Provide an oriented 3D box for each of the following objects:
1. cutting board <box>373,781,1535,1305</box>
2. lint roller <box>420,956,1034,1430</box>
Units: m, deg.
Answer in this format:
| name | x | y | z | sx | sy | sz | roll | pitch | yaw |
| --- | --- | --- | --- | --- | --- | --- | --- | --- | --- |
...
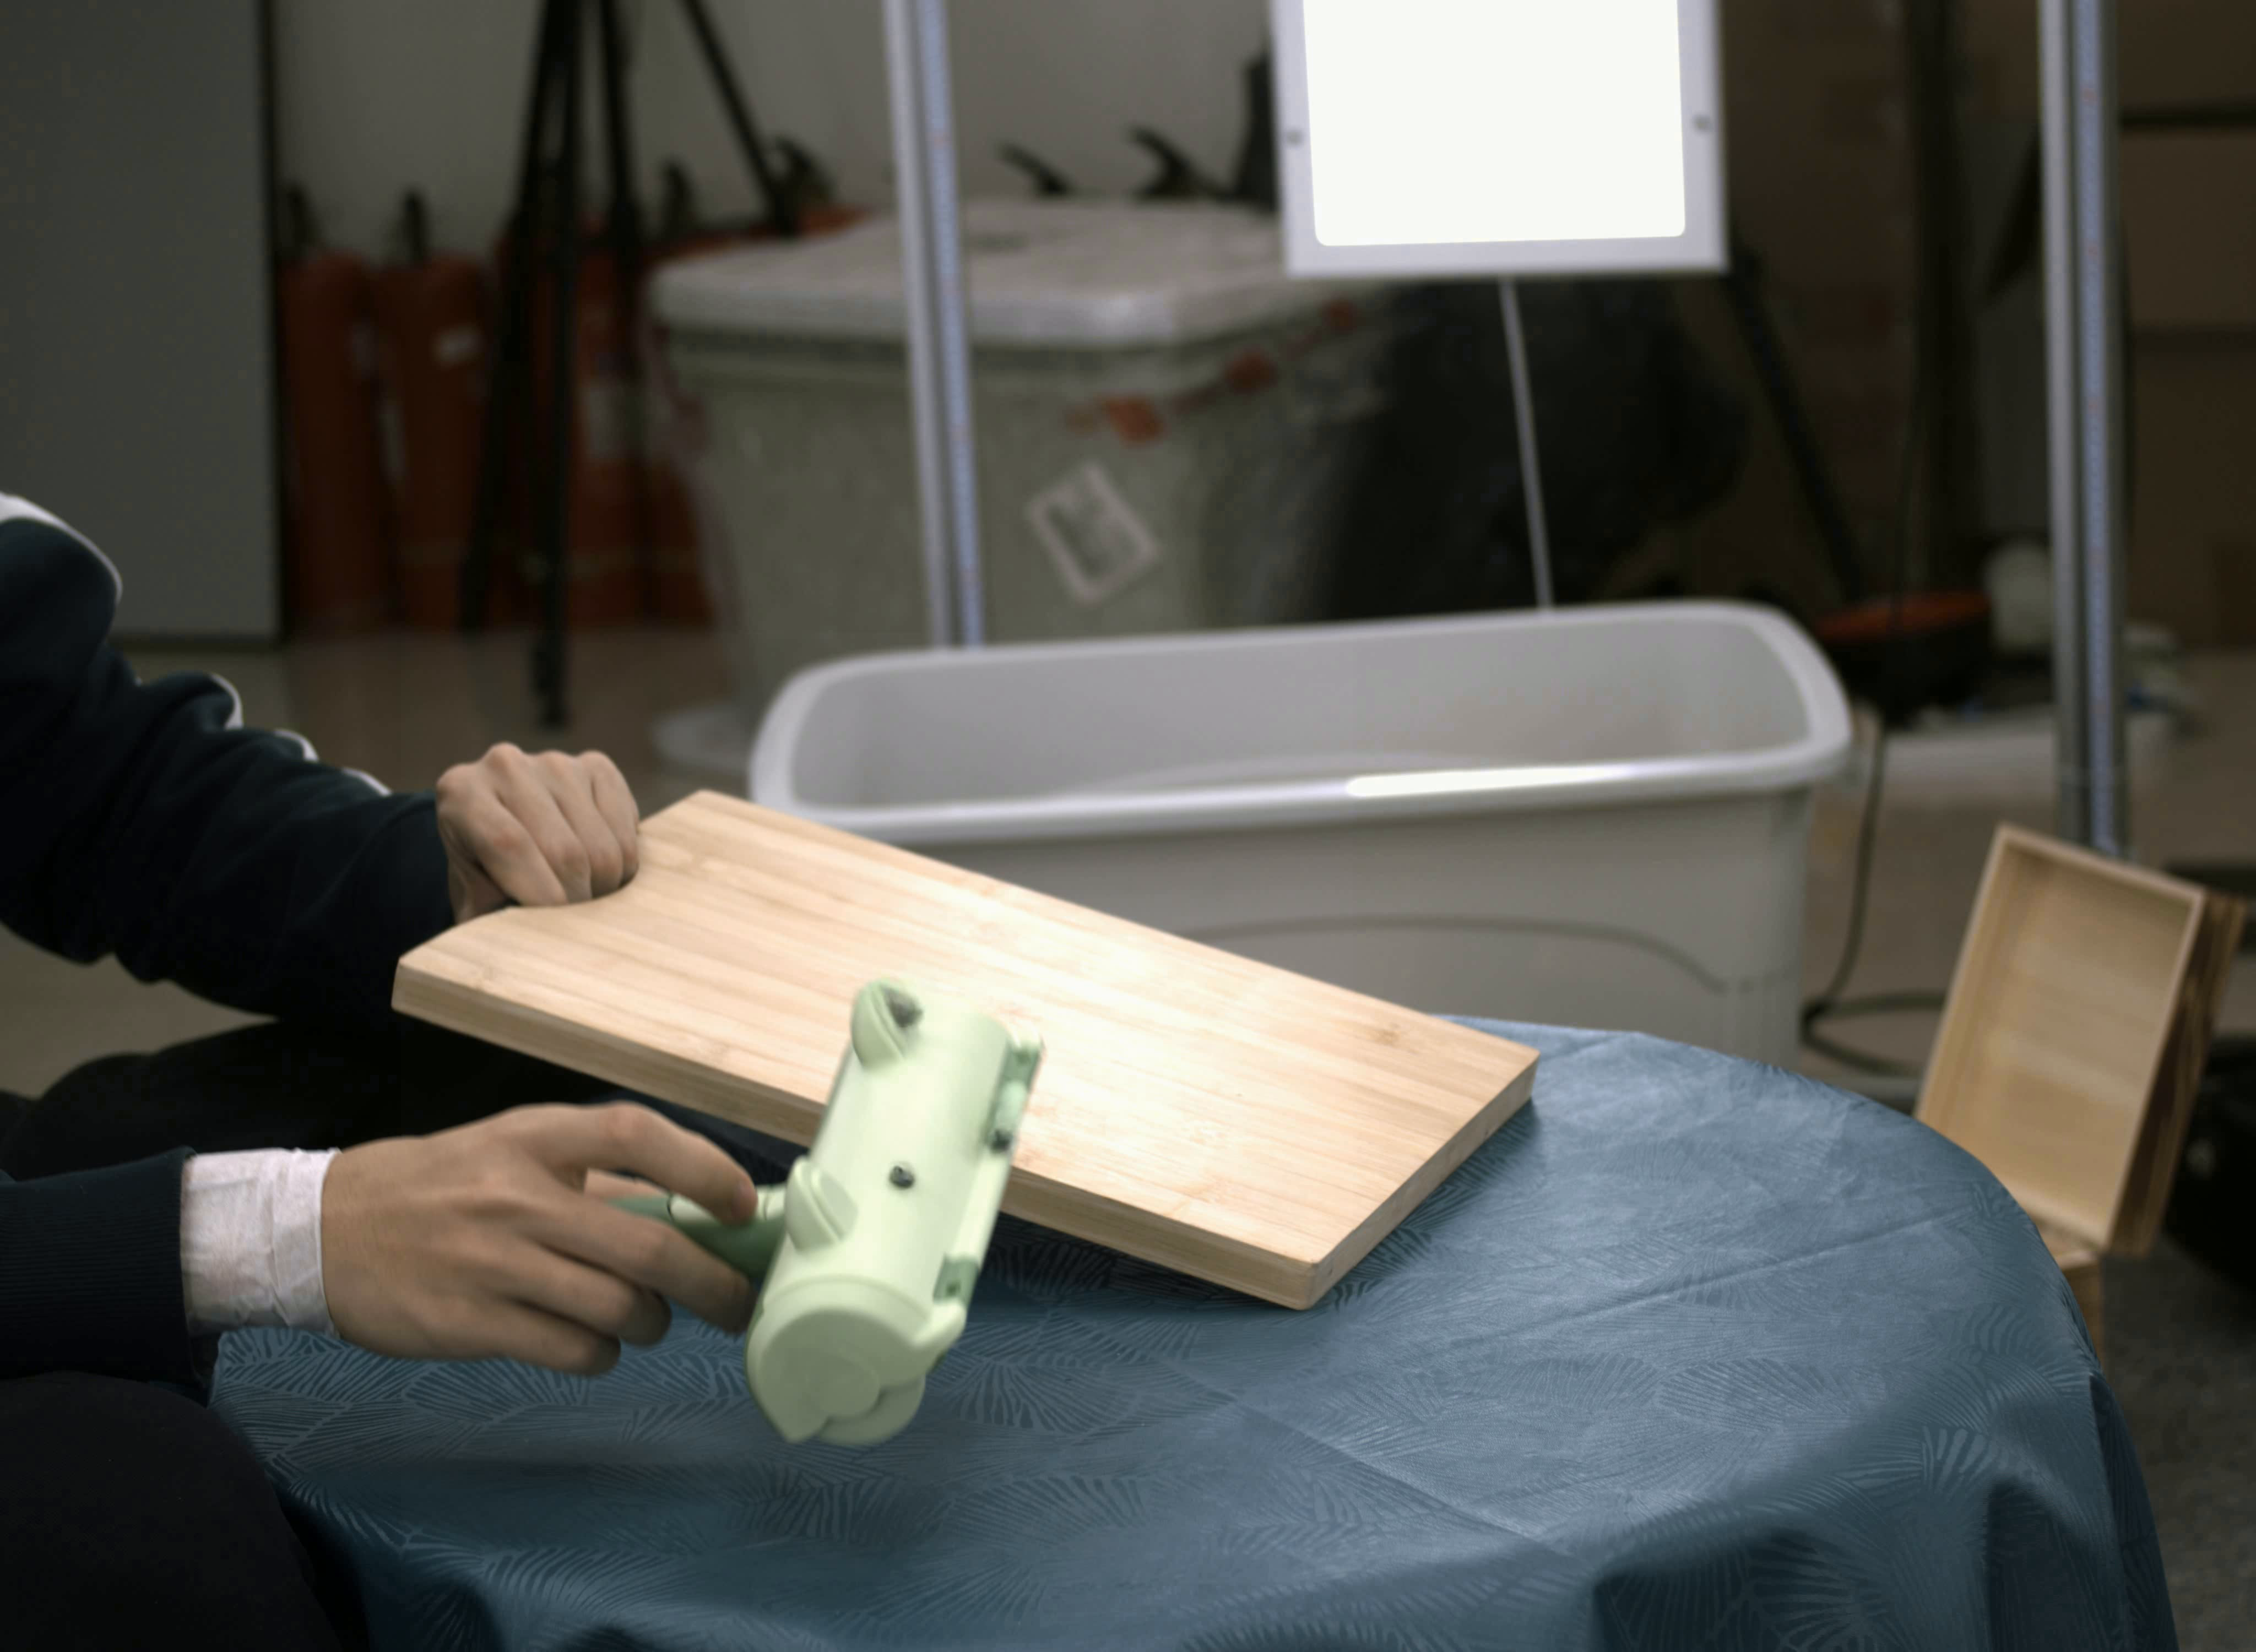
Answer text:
| name | x | y | z | sx | sy | sz | roll | pitch | yaw |
| --- | --- | --- | --- | --- | --- | --- | --- | --- | --- |
| cutting board | -0.056 | 0.070 | 1.919 | 0.352 | 0.024 | 0.246 | 17 | 20 | 19 |
| lint roller | -0.128 | 0.105 | 1.653 | 0.184 | 0.082 | 0.197 | -3 | 26 | 10 |
